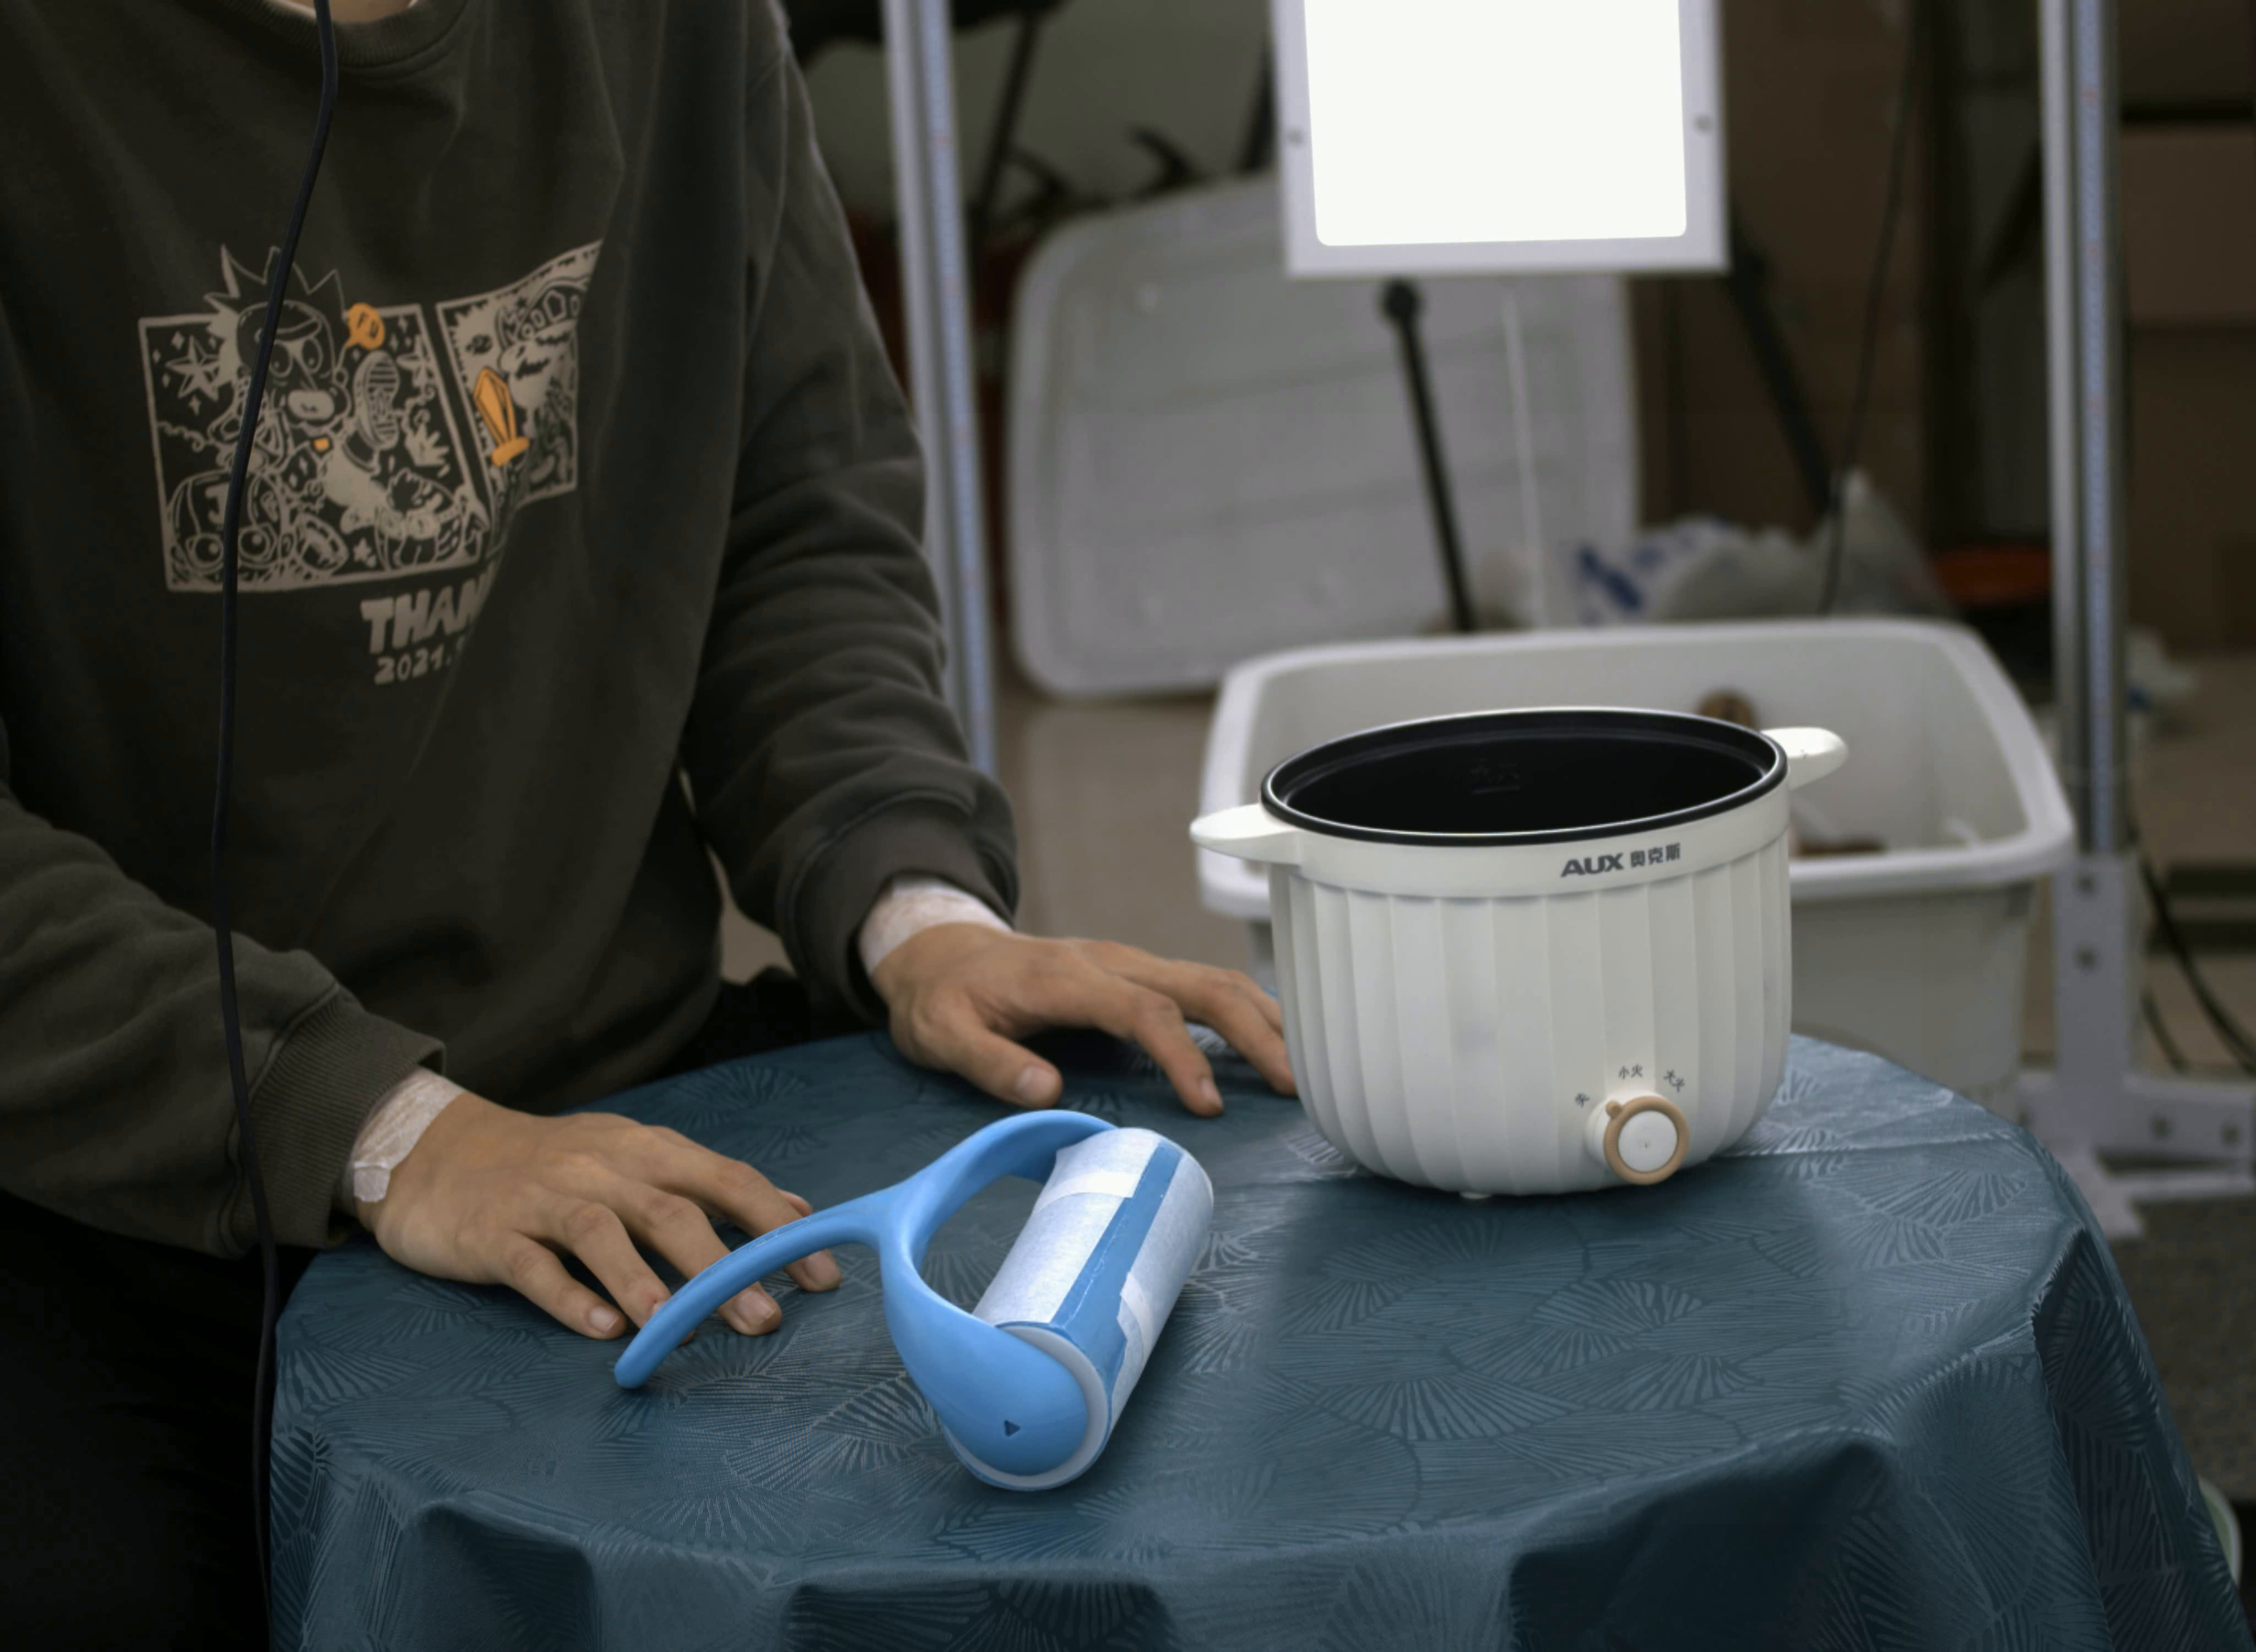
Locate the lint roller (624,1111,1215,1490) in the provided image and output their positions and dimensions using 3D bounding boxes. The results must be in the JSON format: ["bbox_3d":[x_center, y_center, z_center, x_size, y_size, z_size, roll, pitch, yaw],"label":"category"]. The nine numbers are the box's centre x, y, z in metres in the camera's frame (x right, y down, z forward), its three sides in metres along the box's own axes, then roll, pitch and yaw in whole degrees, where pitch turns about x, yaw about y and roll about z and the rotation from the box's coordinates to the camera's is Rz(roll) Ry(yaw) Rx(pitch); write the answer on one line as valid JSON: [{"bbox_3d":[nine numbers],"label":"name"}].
[{"bbox_3d":[-0.072,0.147,1.719,0.181,0.068,0.227,-2,15,9],"label":"lint roller"}]

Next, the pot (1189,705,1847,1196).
[{"bbox_3d":[0.143,0.044,1.885,0.237,0.143,0.192,-10,12,-14],"label":"pot"}]
